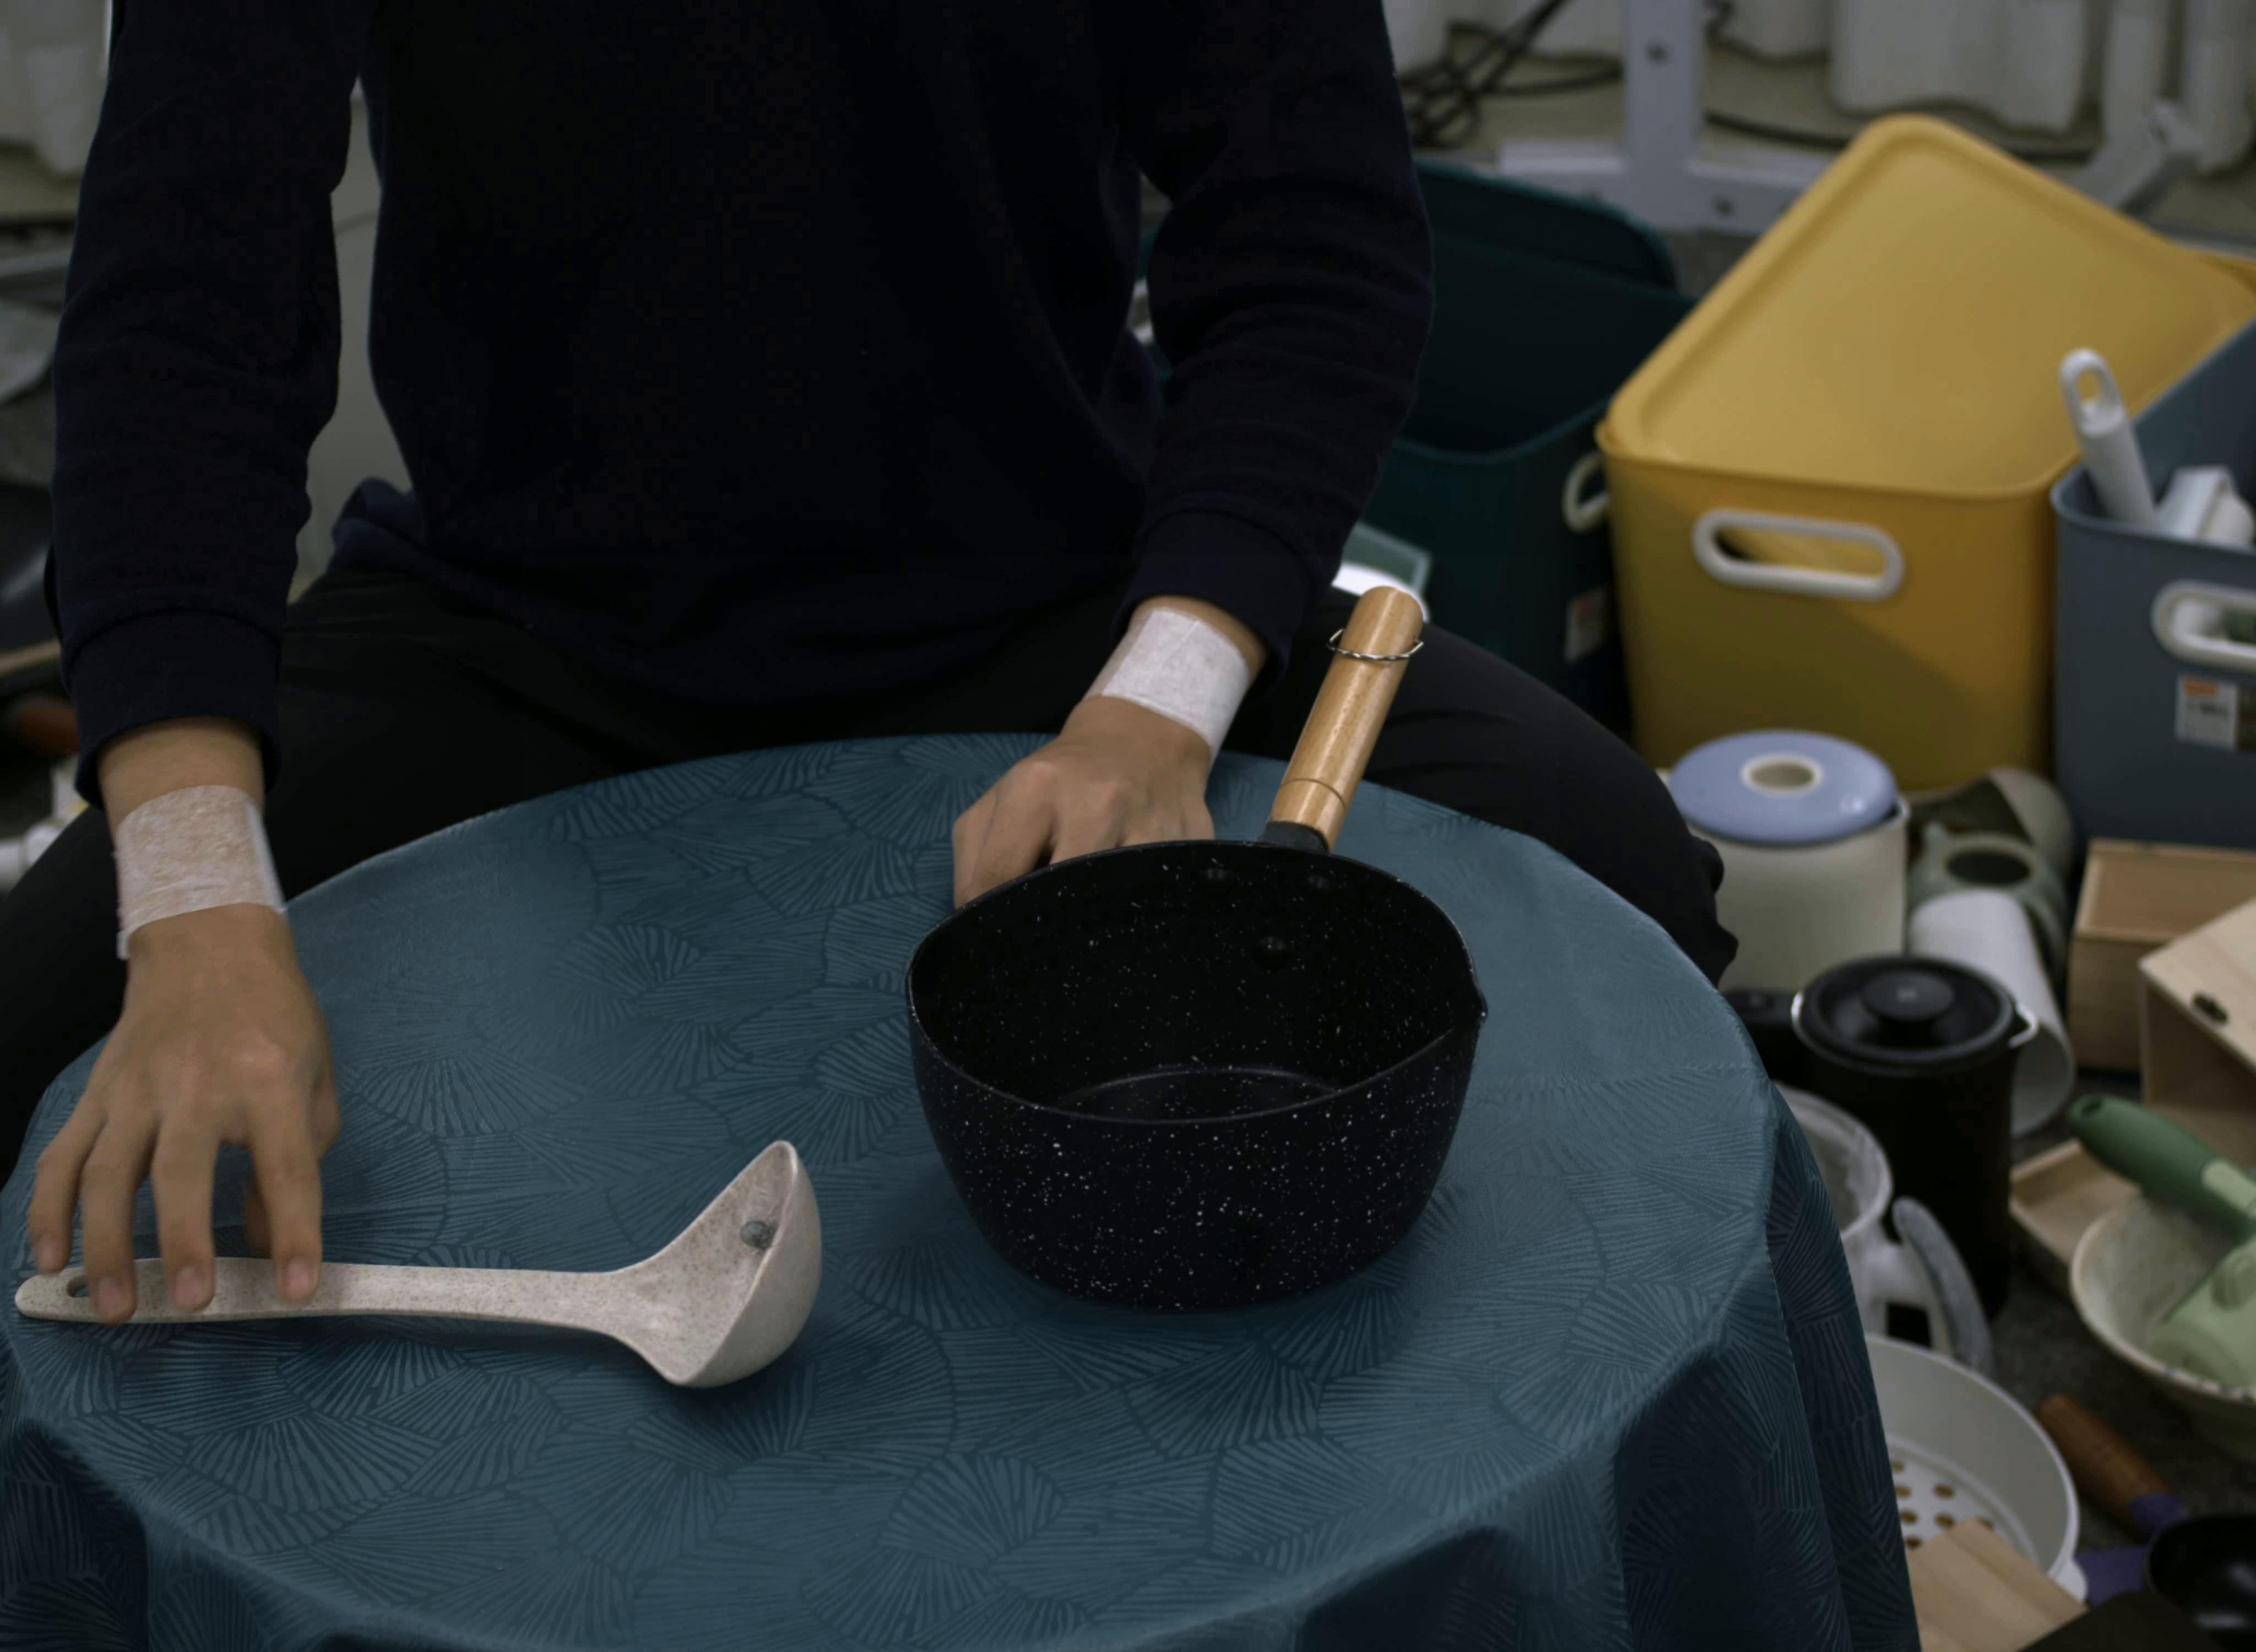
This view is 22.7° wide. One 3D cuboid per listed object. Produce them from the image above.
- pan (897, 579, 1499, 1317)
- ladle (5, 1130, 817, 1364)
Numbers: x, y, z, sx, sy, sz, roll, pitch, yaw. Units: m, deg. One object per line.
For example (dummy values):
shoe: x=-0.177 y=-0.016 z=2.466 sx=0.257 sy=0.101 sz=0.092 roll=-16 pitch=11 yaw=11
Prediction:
pan: x=0.044 y=0.038 z=1.904 sx=0.206 sy=0.107 sz=0.349 roll=4 pitch=30 yaw=17
ladle: x=-0.232 y=0.132 z=1.788 sx=0.273 sy=0.068 sz=0.091 roll=0 pitch=32 yaw=11
